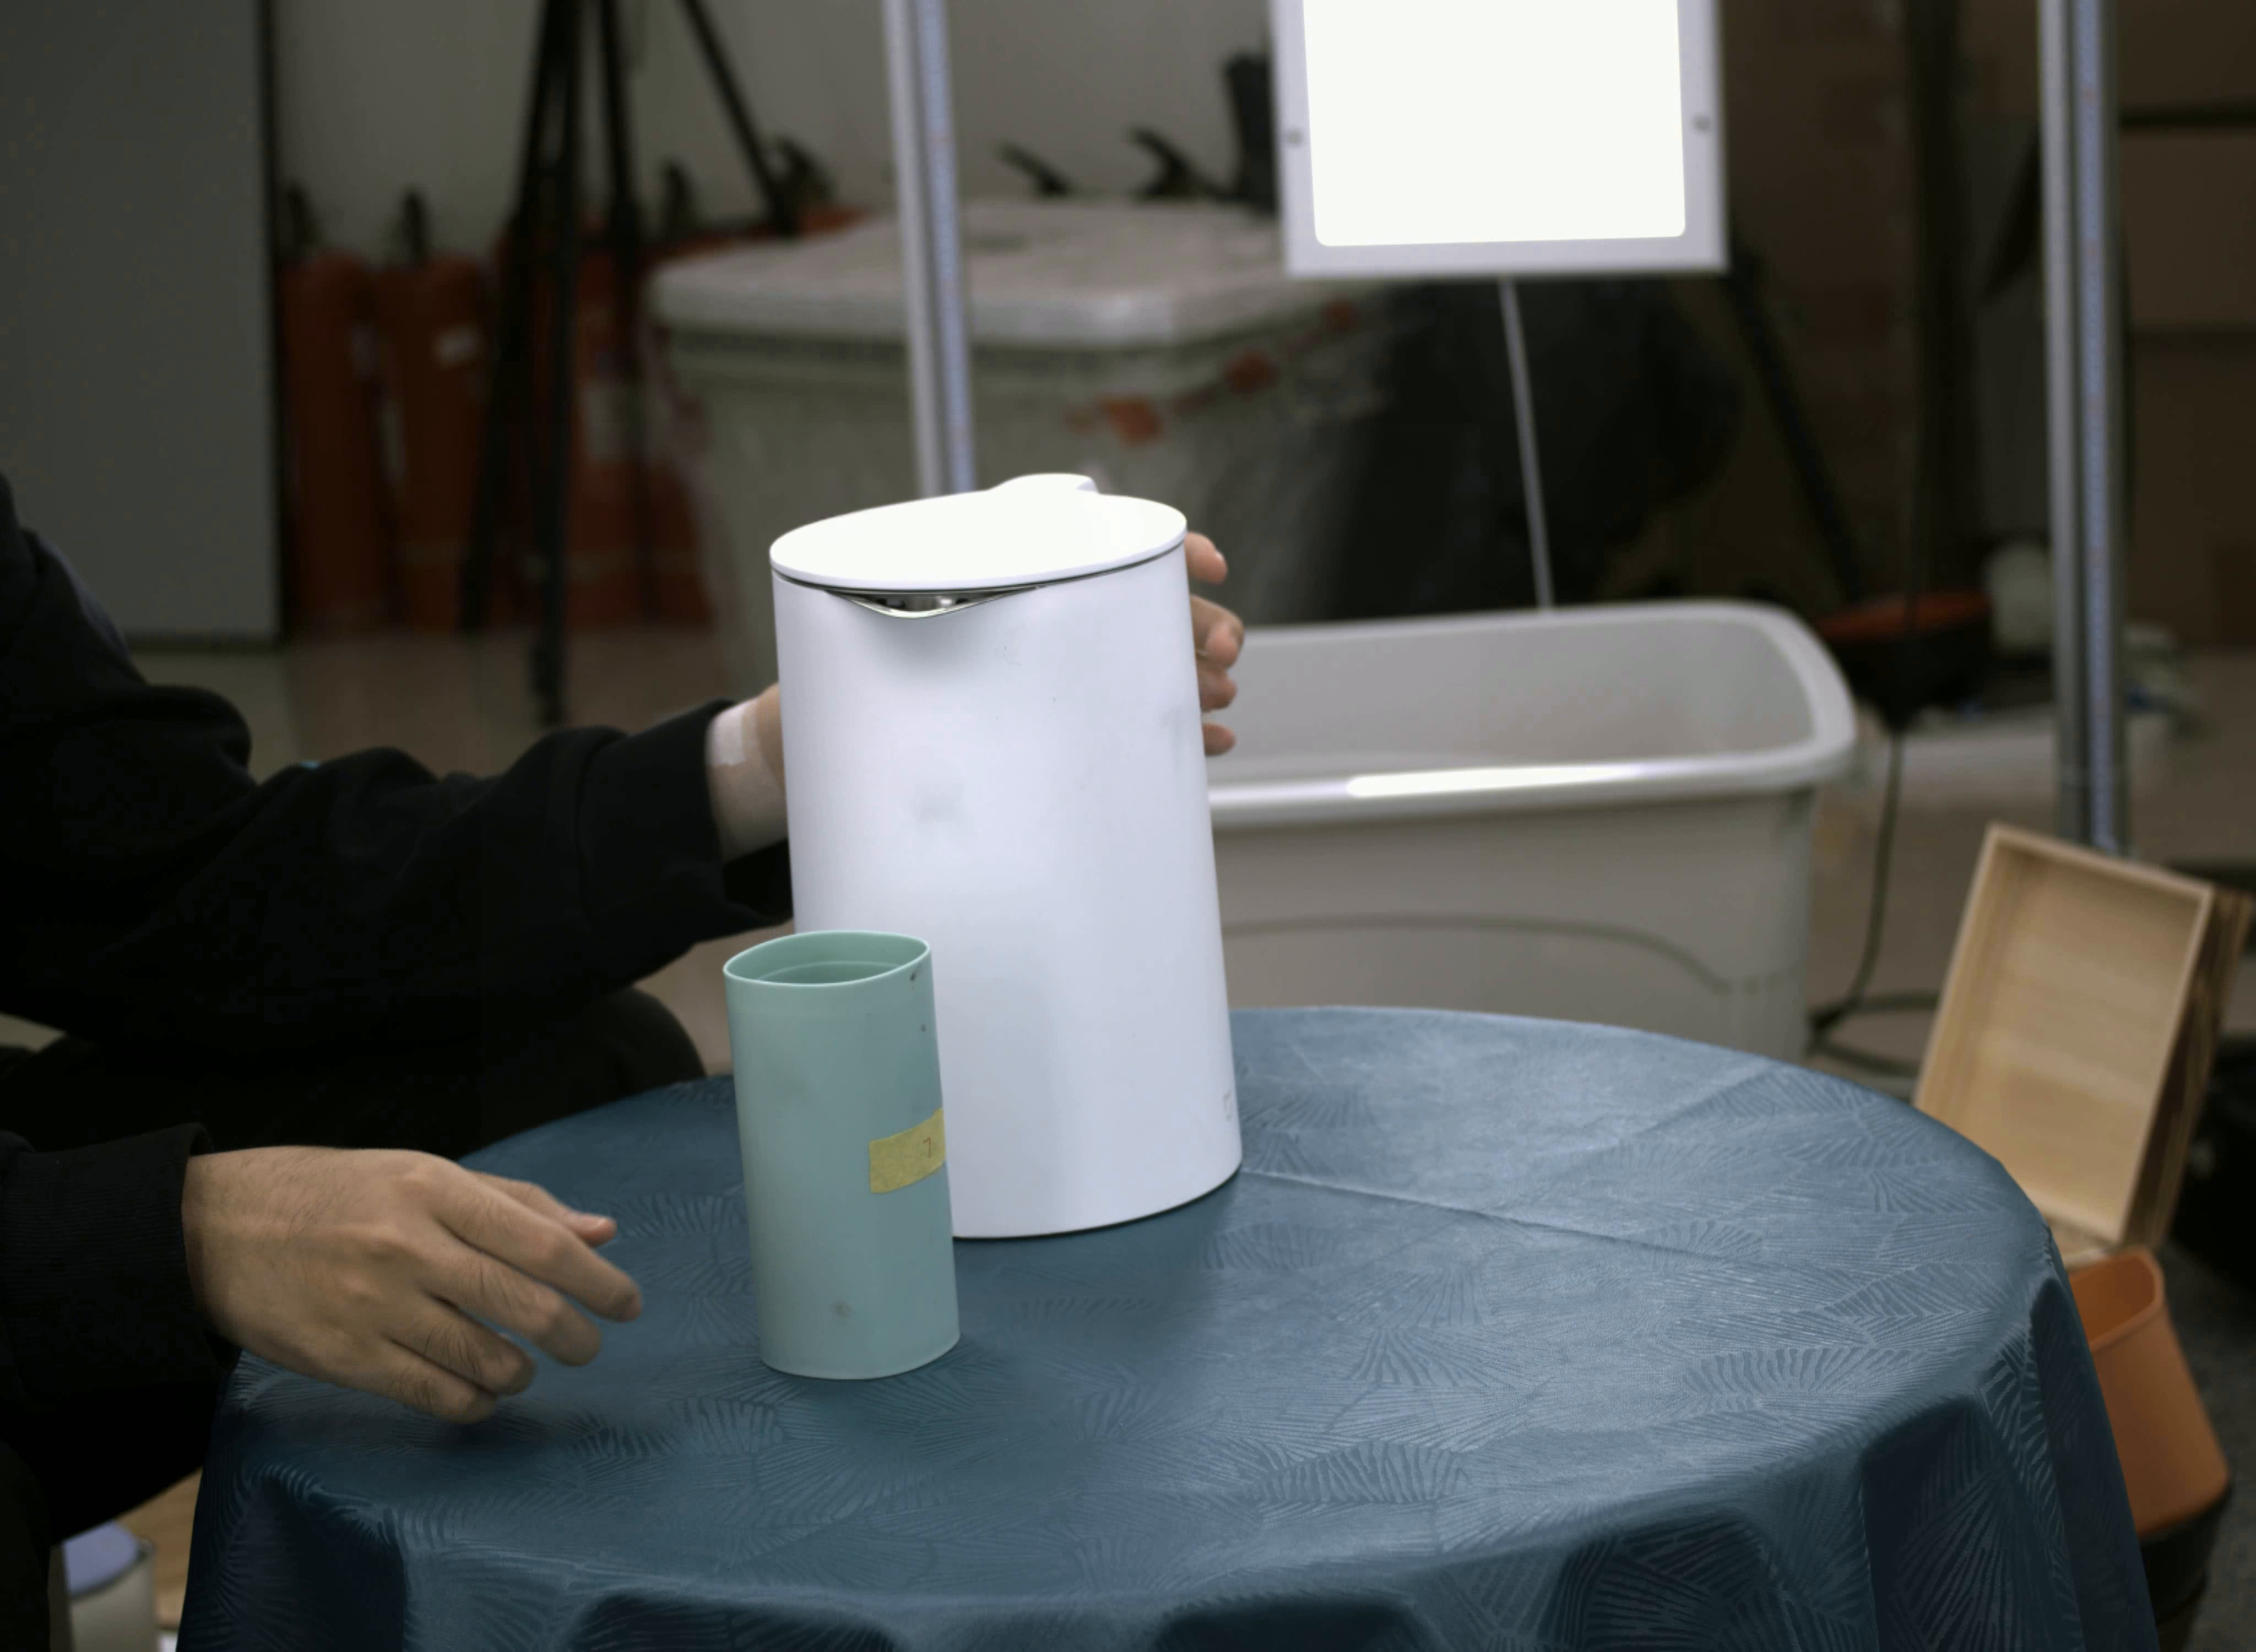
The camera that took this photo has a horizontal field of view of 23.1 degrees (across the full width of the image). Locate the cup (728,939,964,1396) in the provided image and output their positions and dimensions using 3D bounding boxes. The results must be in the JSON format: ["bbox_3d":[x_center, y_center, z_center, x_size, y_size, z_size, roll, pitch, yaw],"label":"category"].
[{"bbox_3d":[-0.089,0.107,1.746,0.066,0.133,0.066,-4,15,0],"label":"cup"}]

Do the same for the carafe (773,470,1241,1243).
[{"bbox_3d":[-0.036,0.004,1.920,0.153,0.241,0.210,0,15,15],"label":"carafe"}]
